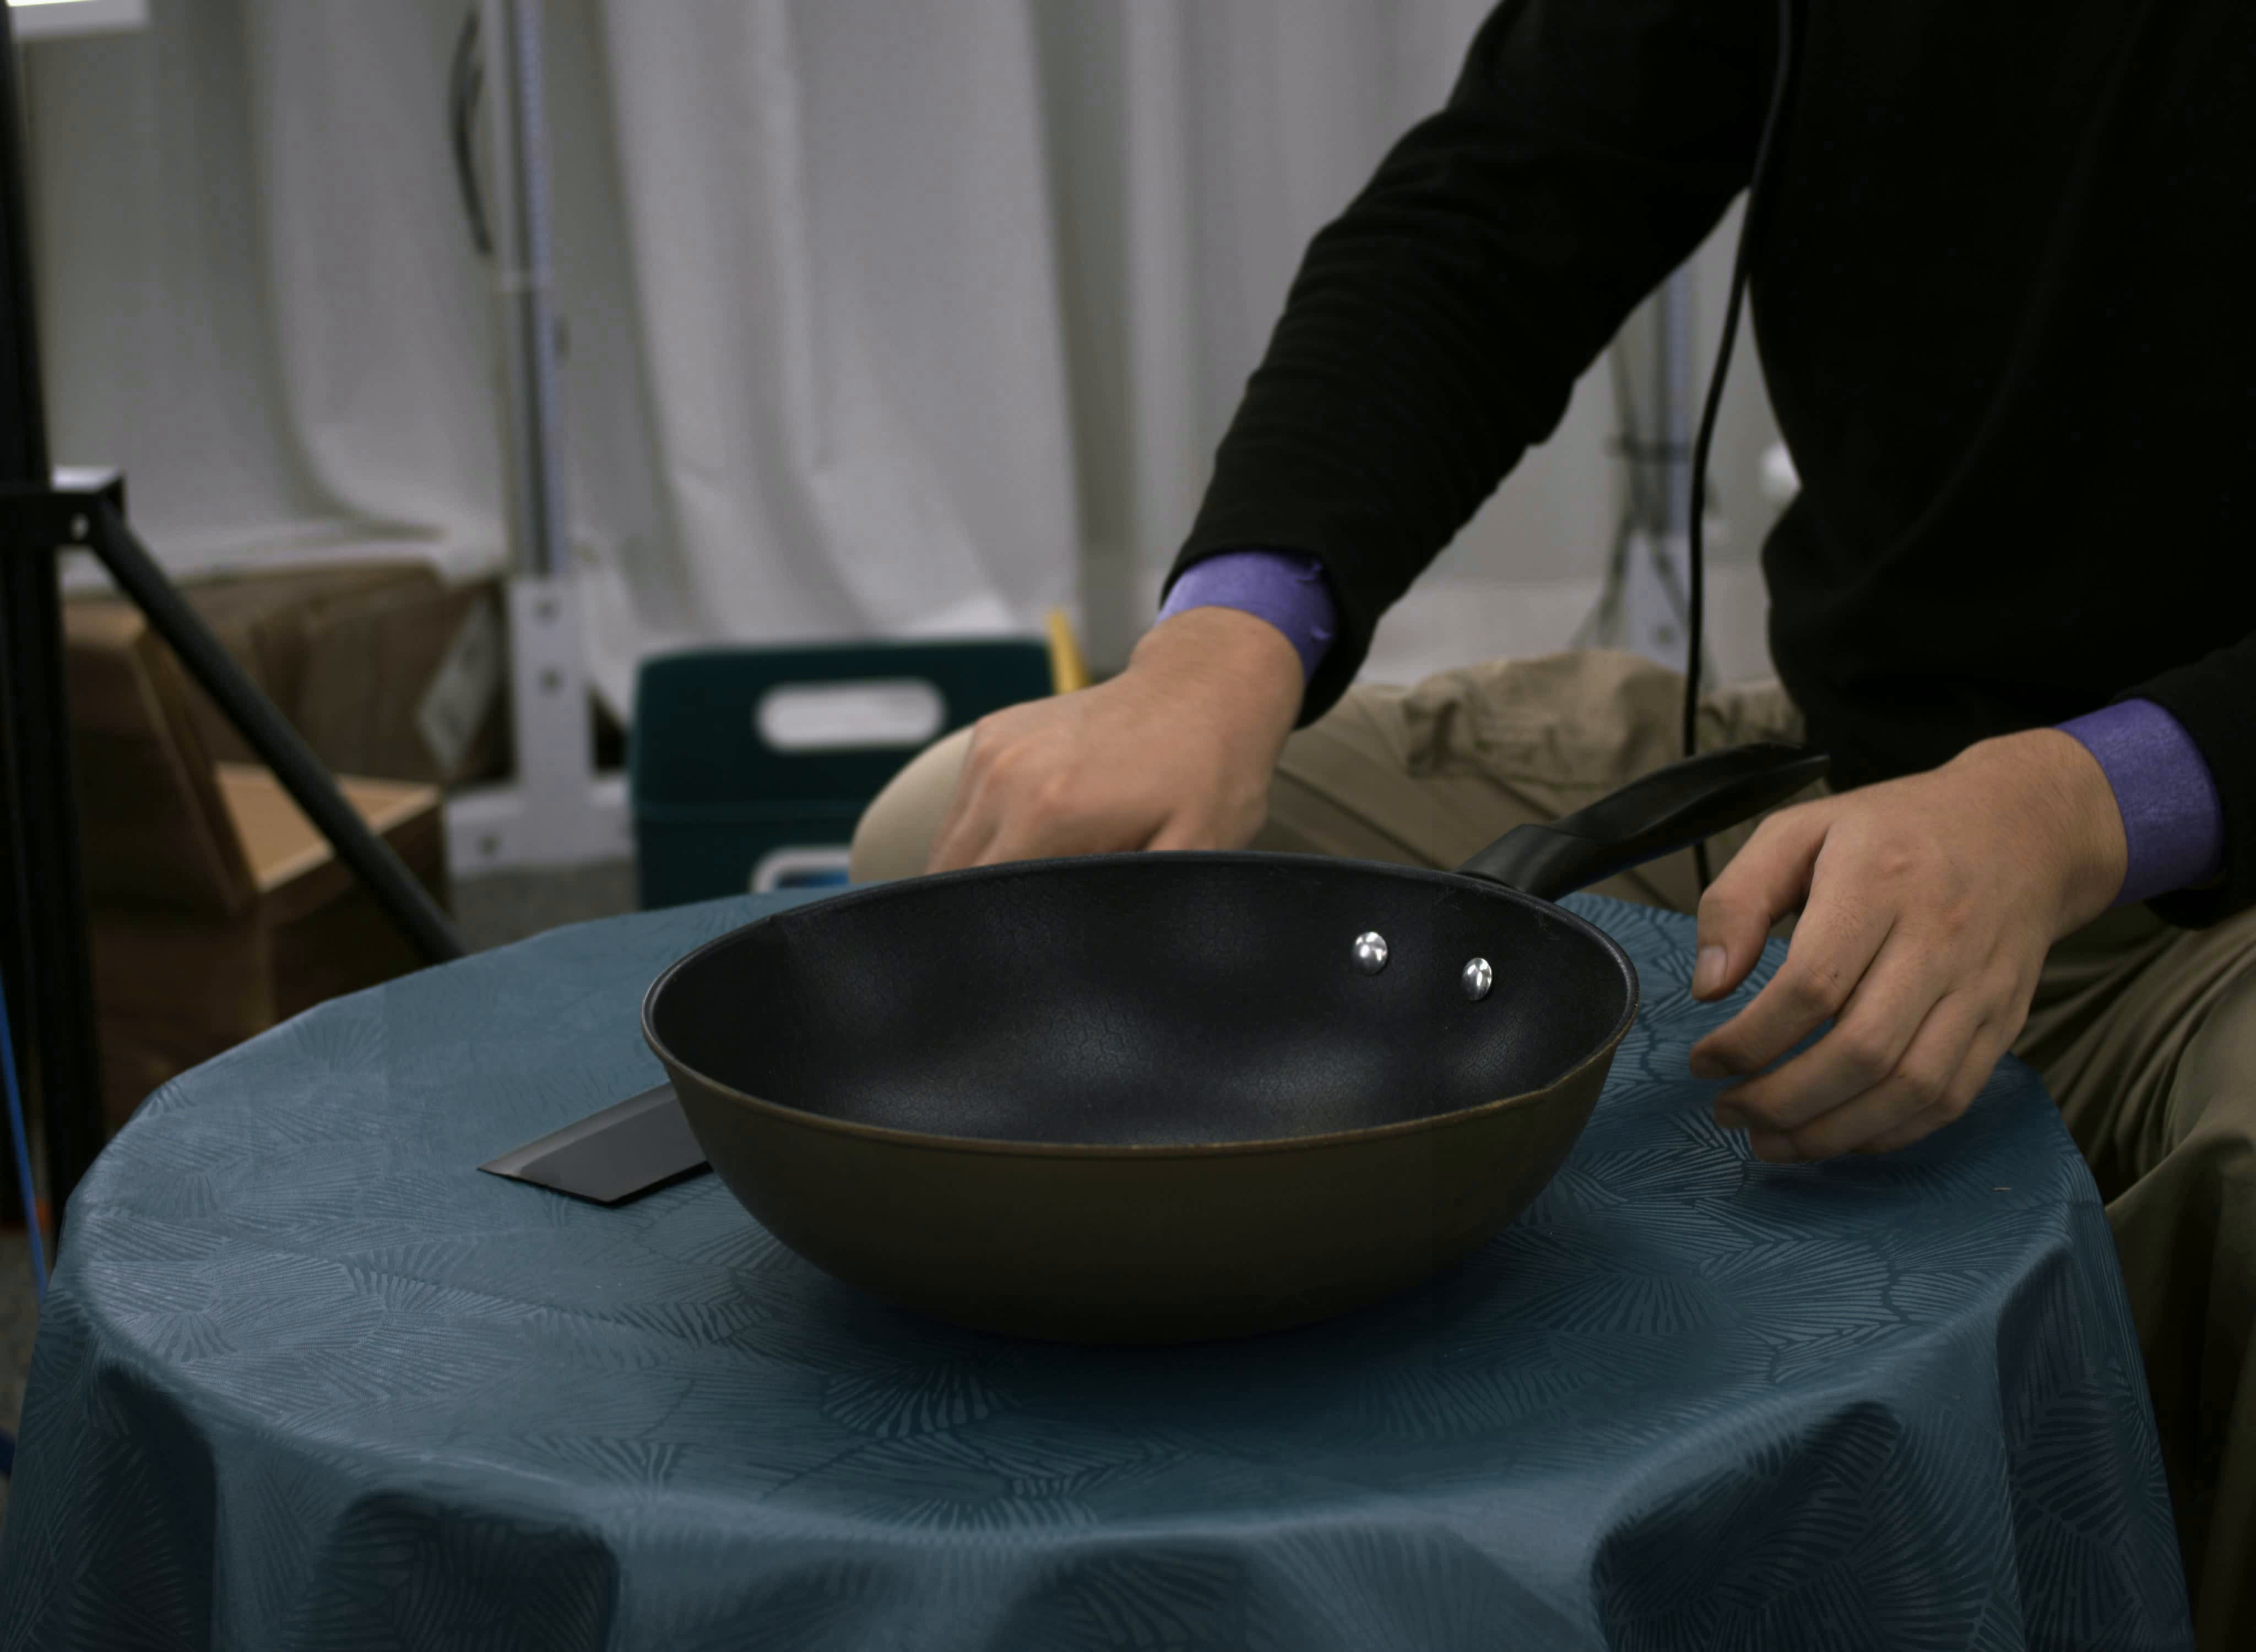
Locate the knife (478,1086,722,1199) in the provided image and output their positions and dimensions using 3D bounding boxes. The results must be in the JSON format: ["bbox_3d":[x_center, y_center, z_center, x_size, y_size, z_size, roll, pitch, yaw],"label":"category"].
[{"bbox_3d":[-0.074,0.069,1.681,0.295,0.021,0.083,-19,21,-39],"label":"knife"}]

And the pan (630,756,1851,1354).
[{"bbox_3d":[0.063,0.063,1.553,0.294,0.087,0.453,12,21,42],"label":"pan"}]
